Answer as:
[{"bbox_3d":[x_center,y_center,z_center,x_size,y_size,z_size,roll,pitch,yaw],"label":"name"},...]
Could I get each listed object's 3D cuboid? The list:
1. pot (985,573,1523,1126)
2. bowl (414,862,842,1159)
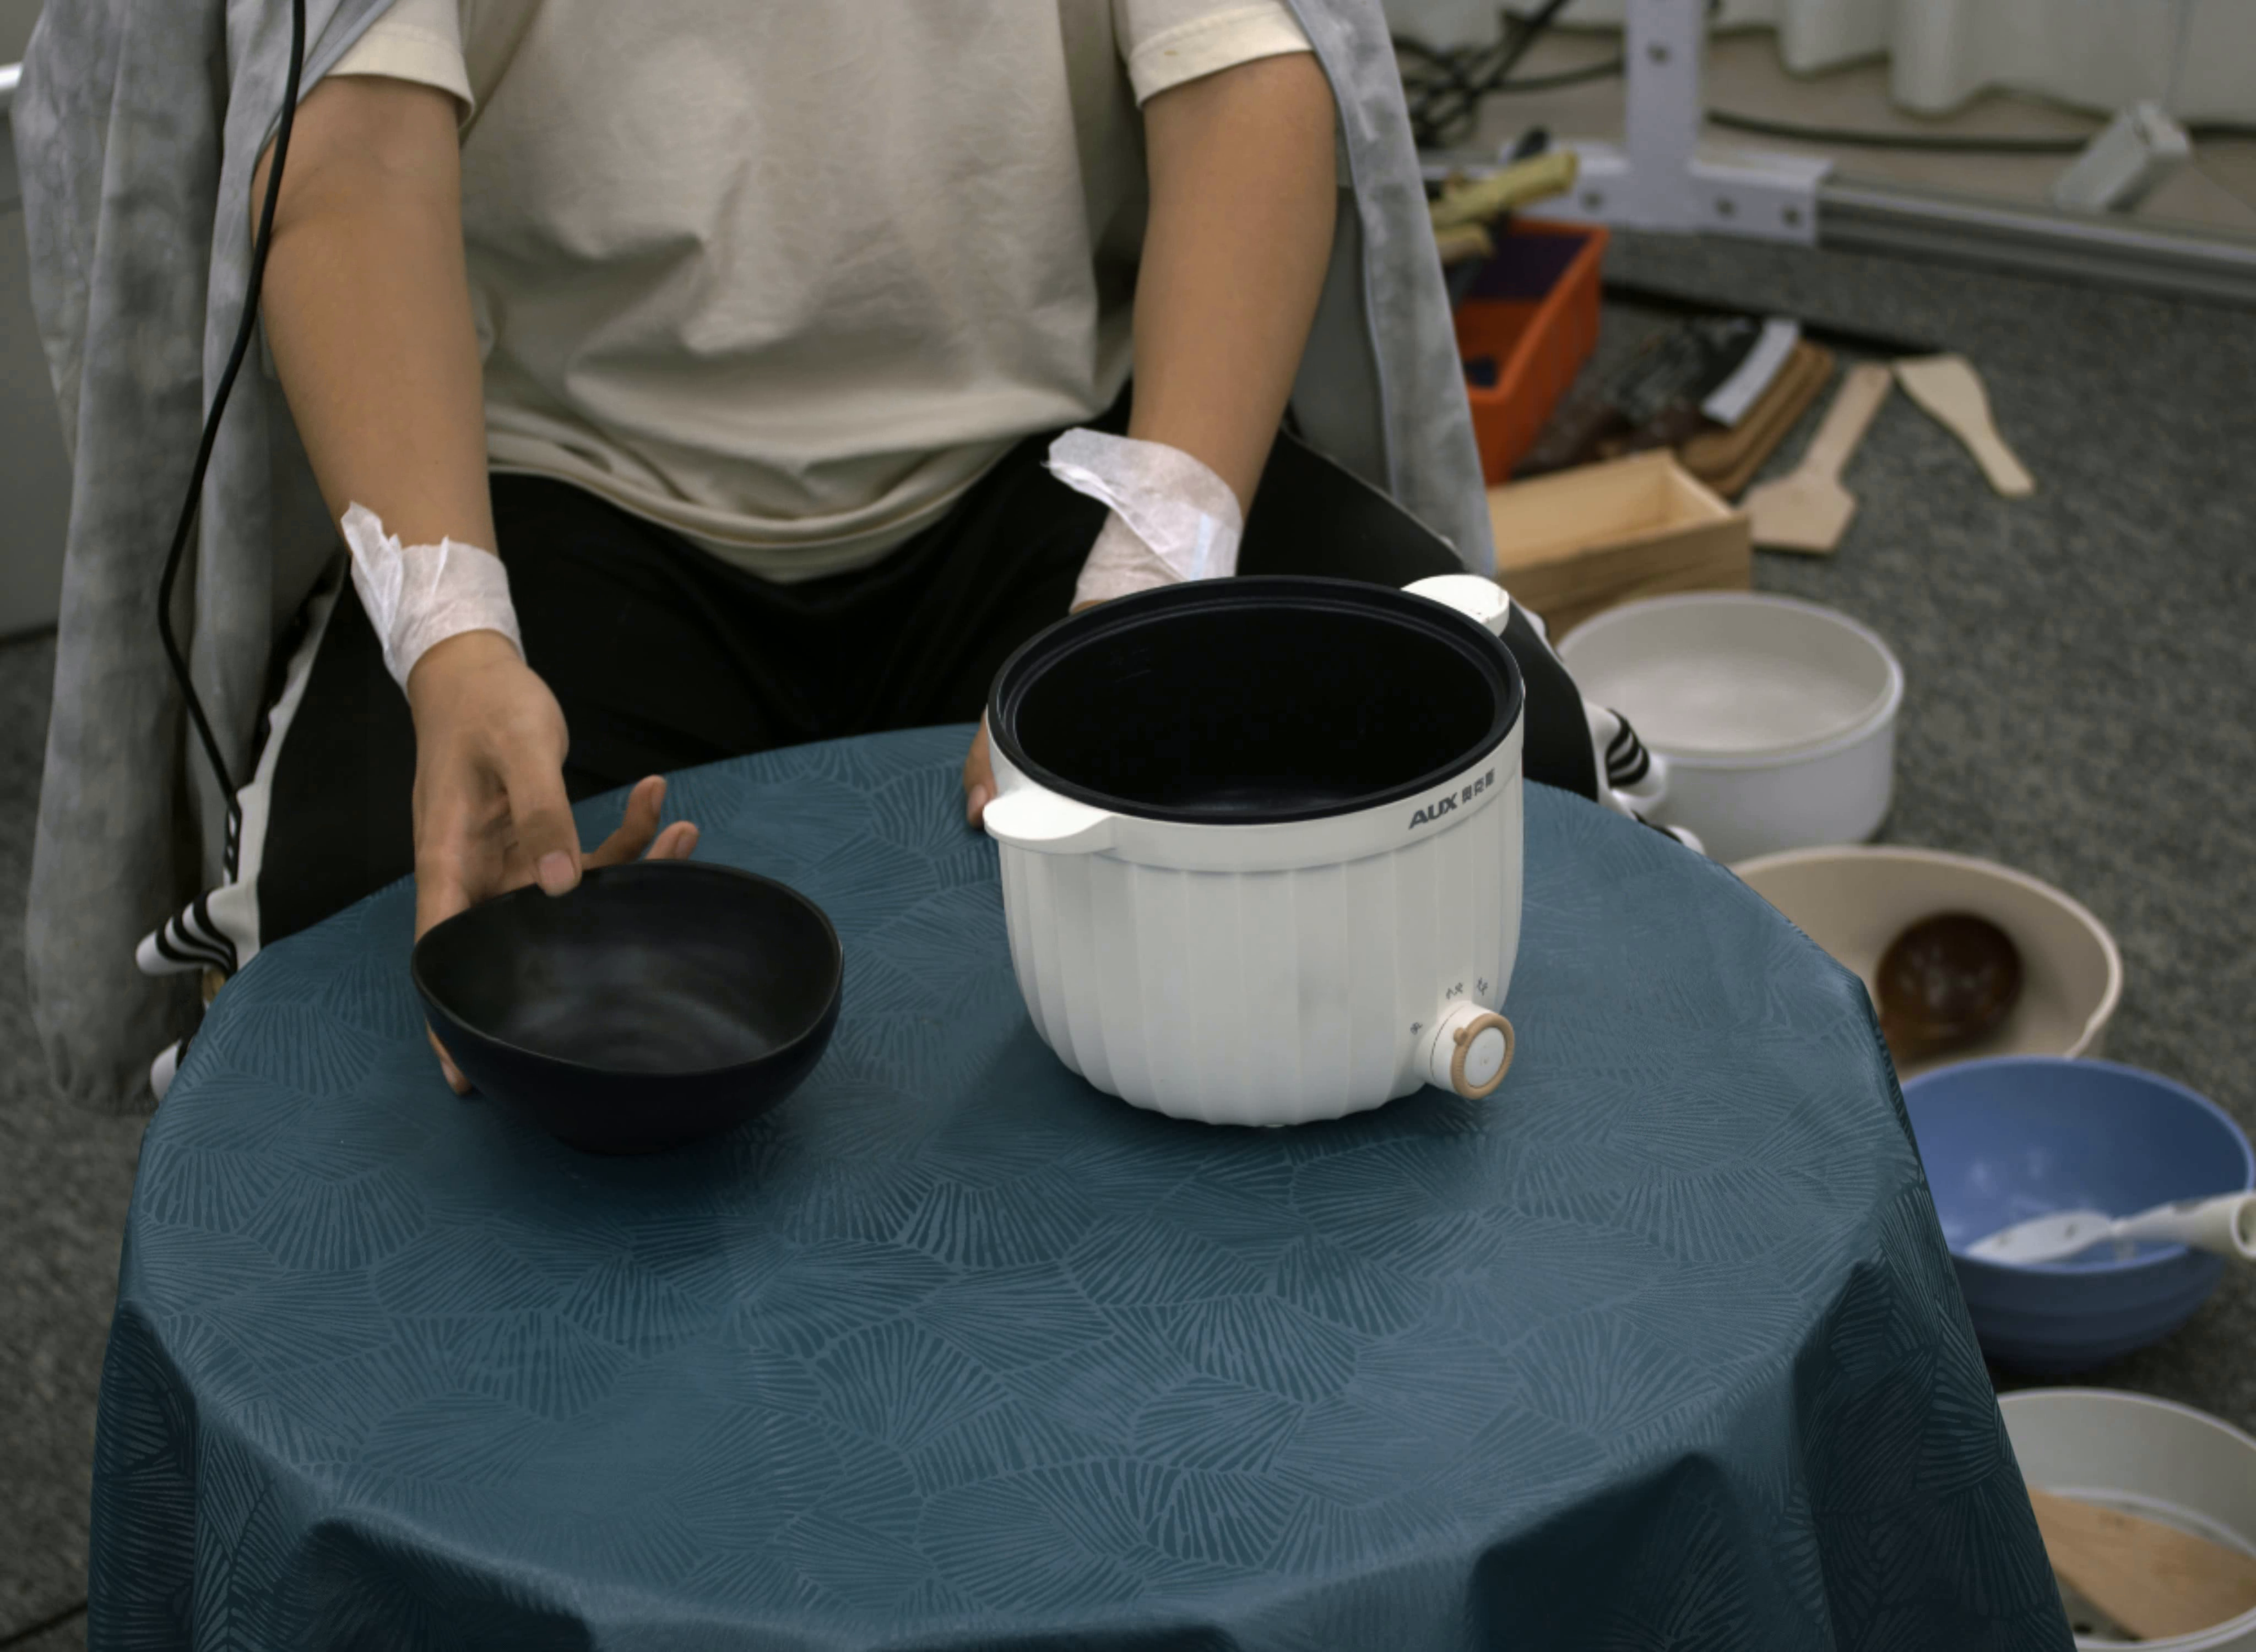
[{"bbox_3d":[0.051,0.013,1.916,0.190,0.141,0.243,17,34,41],"label":"pot"},{"bbox_3d":[-0.169,0.070,1.907,0.138,0.066,0.170,-21,31,-34],"label":"bowl"}]
